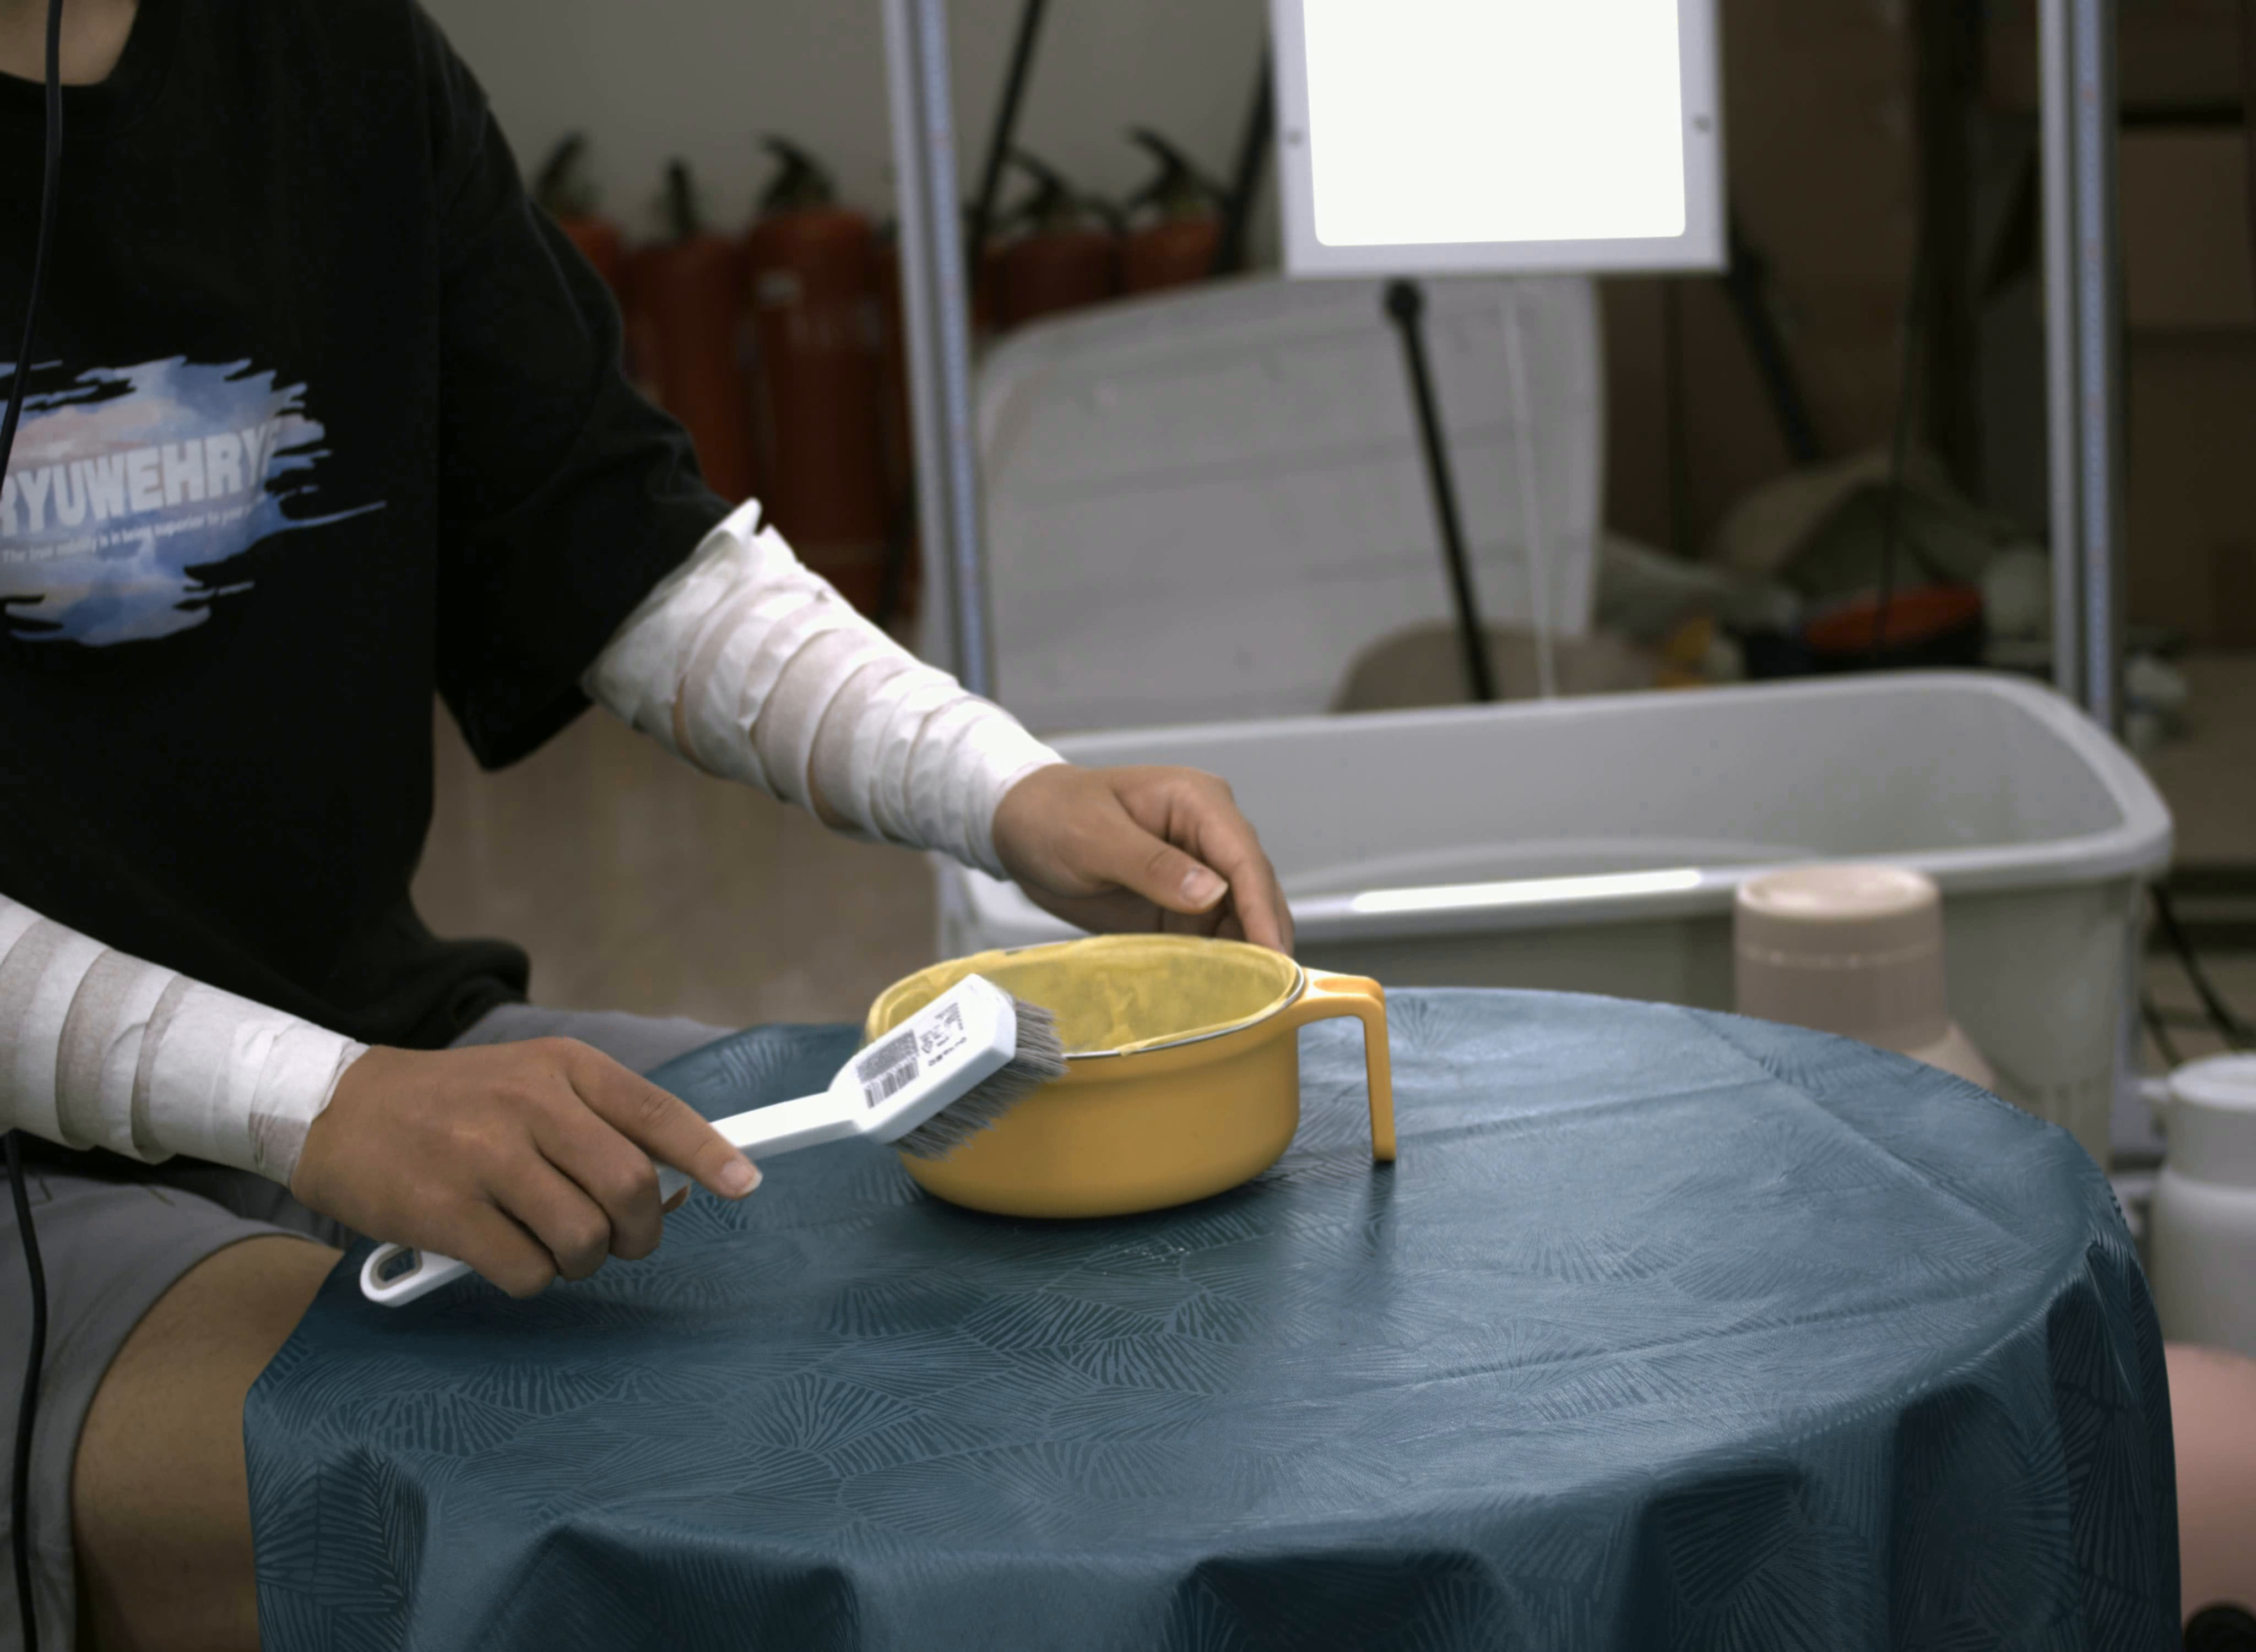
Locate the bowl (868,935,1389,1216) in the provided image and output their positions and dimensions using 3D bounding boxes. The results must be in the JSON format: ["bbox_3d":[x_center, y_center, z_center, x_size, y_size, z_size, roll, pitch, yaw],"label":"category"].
[{"bbox_3d":[0.001,0.088,1.911,0.179,0.074,0.152,-4,10,2],"label":"bowl"}]

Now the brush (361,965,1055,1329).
[{"bbox_3d":[-0.137,0.115,1.814,0.245,0.050,0.034,-27,53,9],"label":"brush"}]
